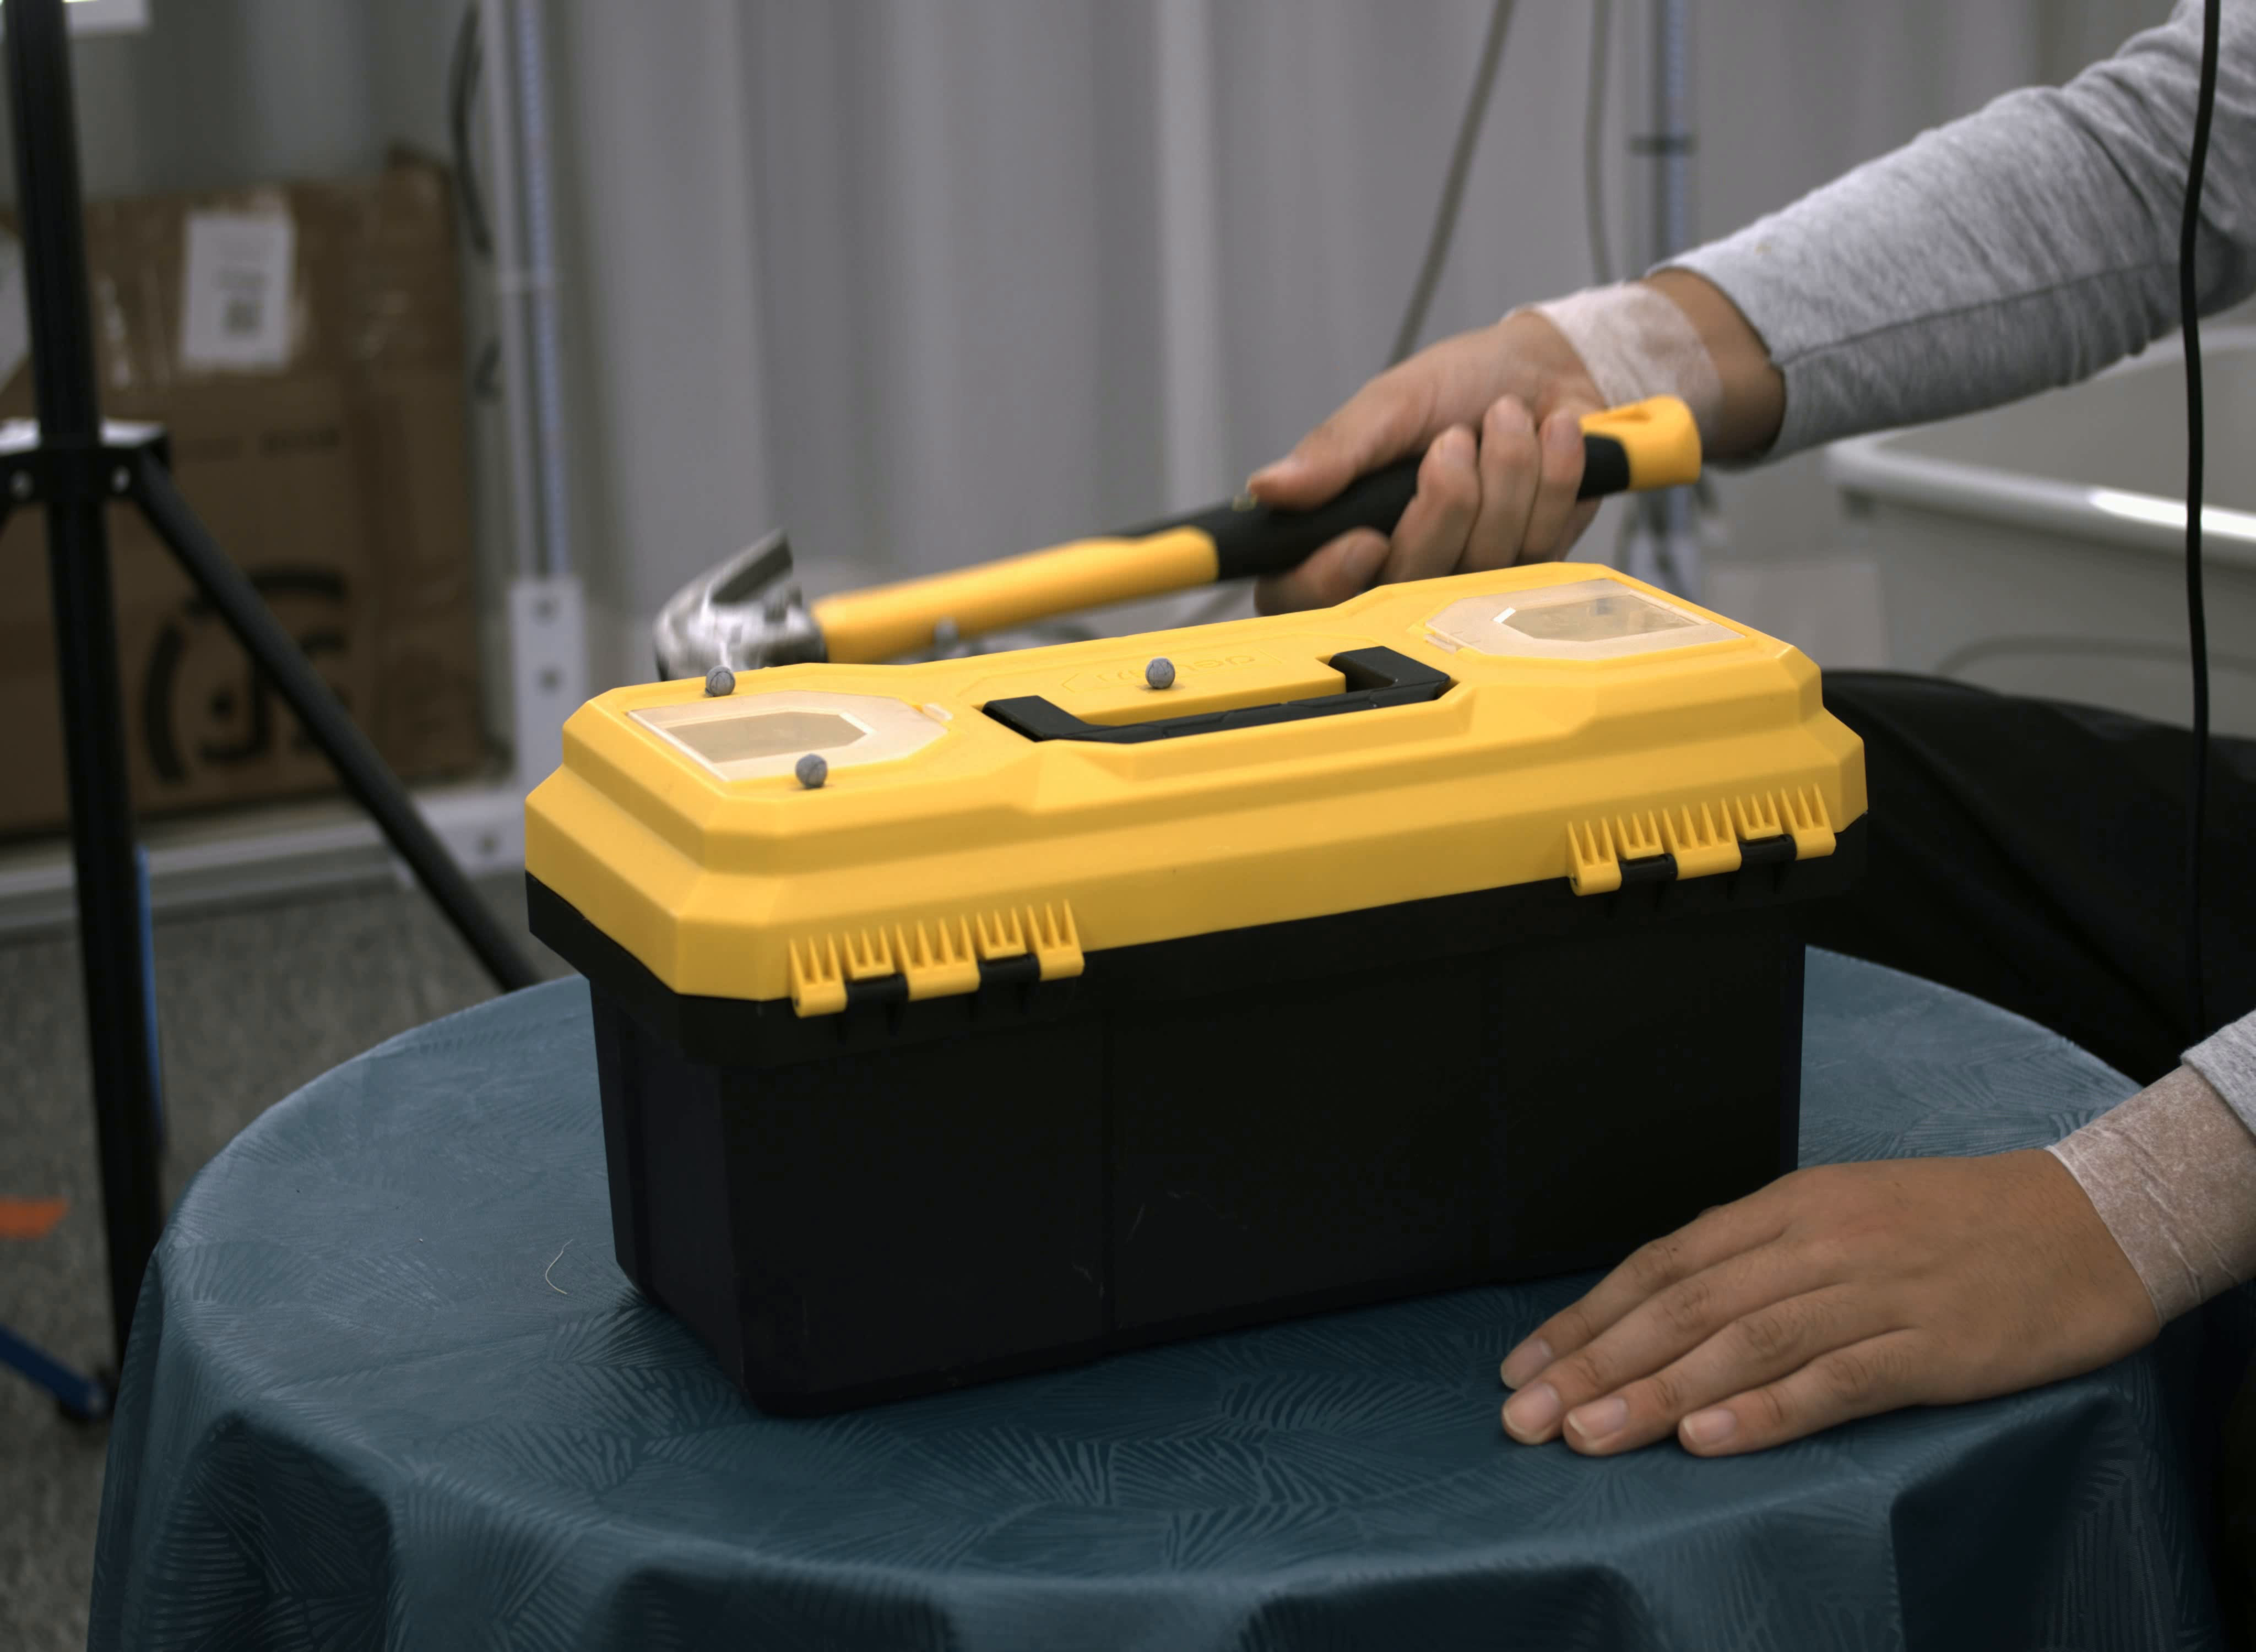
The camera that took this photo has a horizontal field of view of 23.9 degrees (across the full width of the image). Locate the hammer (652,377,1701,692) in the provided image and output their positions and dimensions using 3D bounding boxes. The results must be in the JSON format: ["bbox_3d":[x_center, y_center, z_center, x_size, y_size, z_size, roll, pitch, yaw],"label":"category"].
[{"bbox_3d":[0.018,-0.092,1.651,0.334,0.032,0.133,-13,19,-10],"label":"hammer"}]

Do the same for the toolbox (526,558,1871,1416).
[{"bbox_3d":[0.020,0.039,1.478,0.345,0.173,0.184,-8,16,-19],"label":"toolbox"}]
